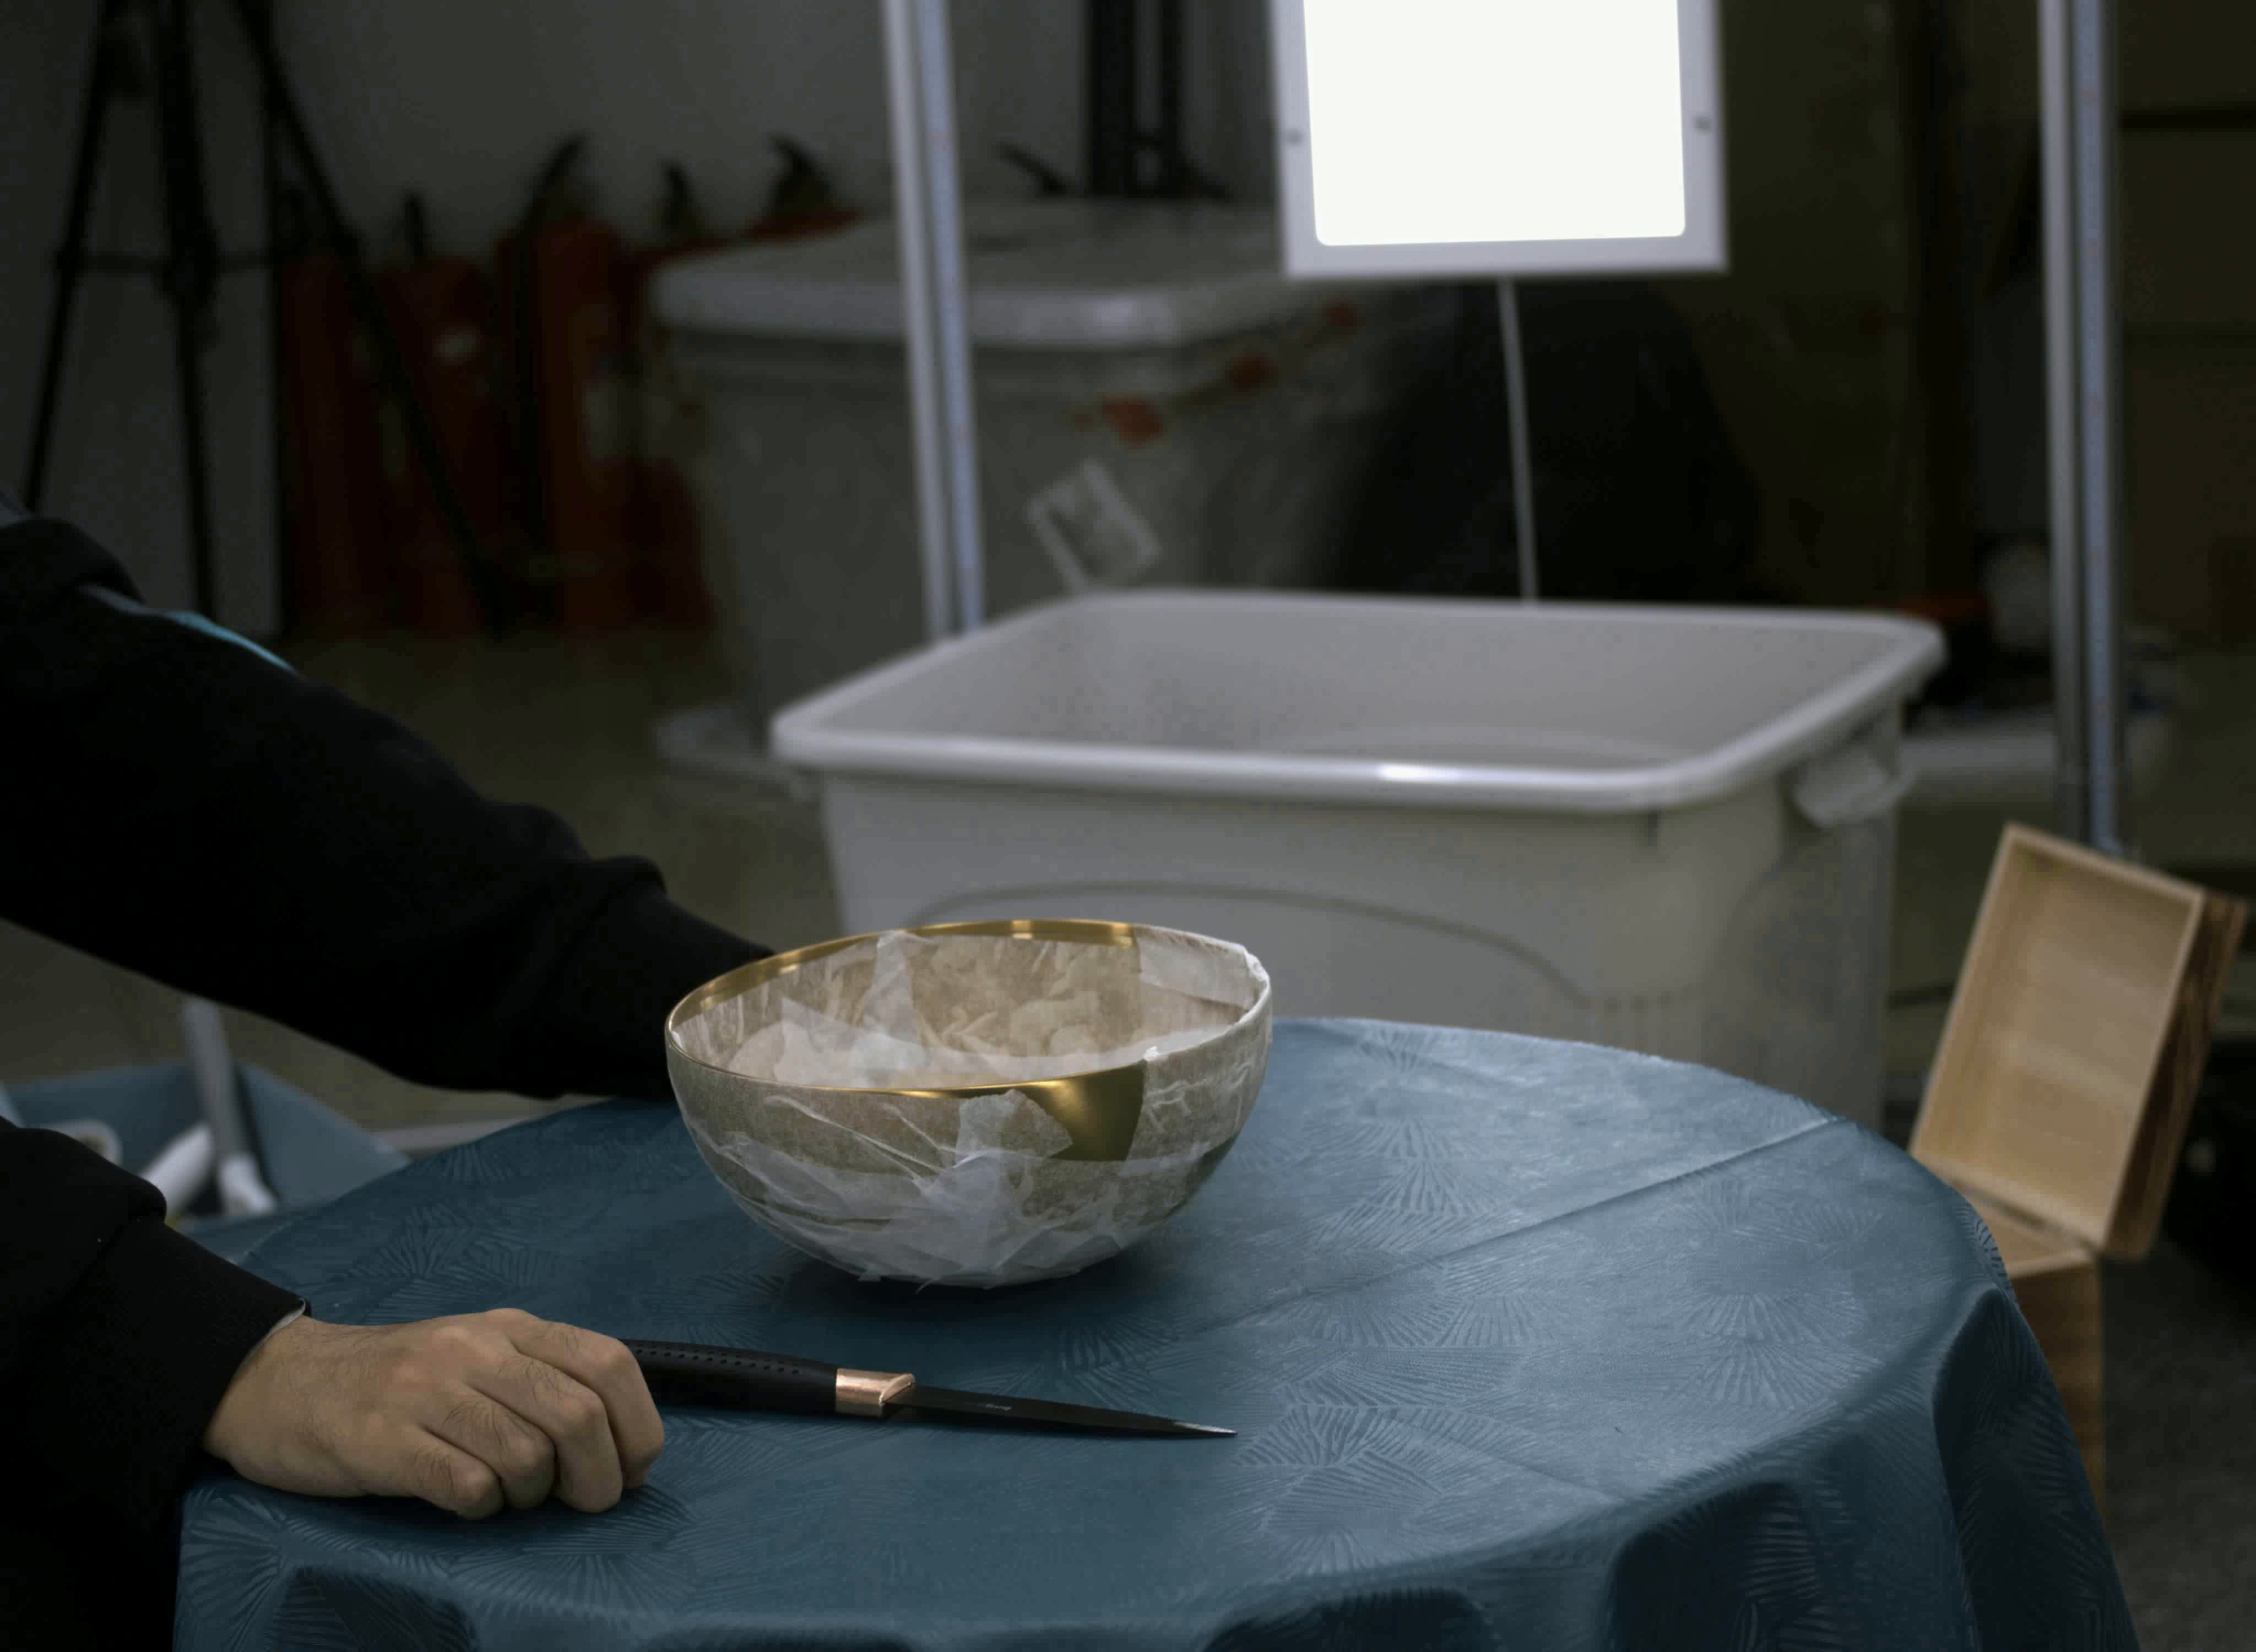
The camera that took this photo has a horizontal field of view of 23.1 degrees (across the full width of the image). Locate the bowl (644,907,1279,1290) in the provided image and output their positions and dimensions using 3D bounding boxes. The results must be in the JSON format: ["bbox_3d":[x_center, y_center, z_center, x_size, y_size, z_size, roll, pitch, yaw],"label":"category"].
[{"bbox_3d":[-0.053,0.099,1.831,0.214,0.095,0.214,-5,15,0],"label":"bowl"}]

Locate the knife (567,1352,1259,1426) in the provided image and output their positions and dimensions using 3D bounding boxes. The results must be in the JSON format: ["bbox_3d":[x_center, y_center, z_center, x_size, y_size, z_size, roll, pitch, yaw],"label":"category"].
[{"bbox_3d":[-0.068,0.176,1.701,0.228,0.017,0.026,2,8,22],"label":"knife"}]
